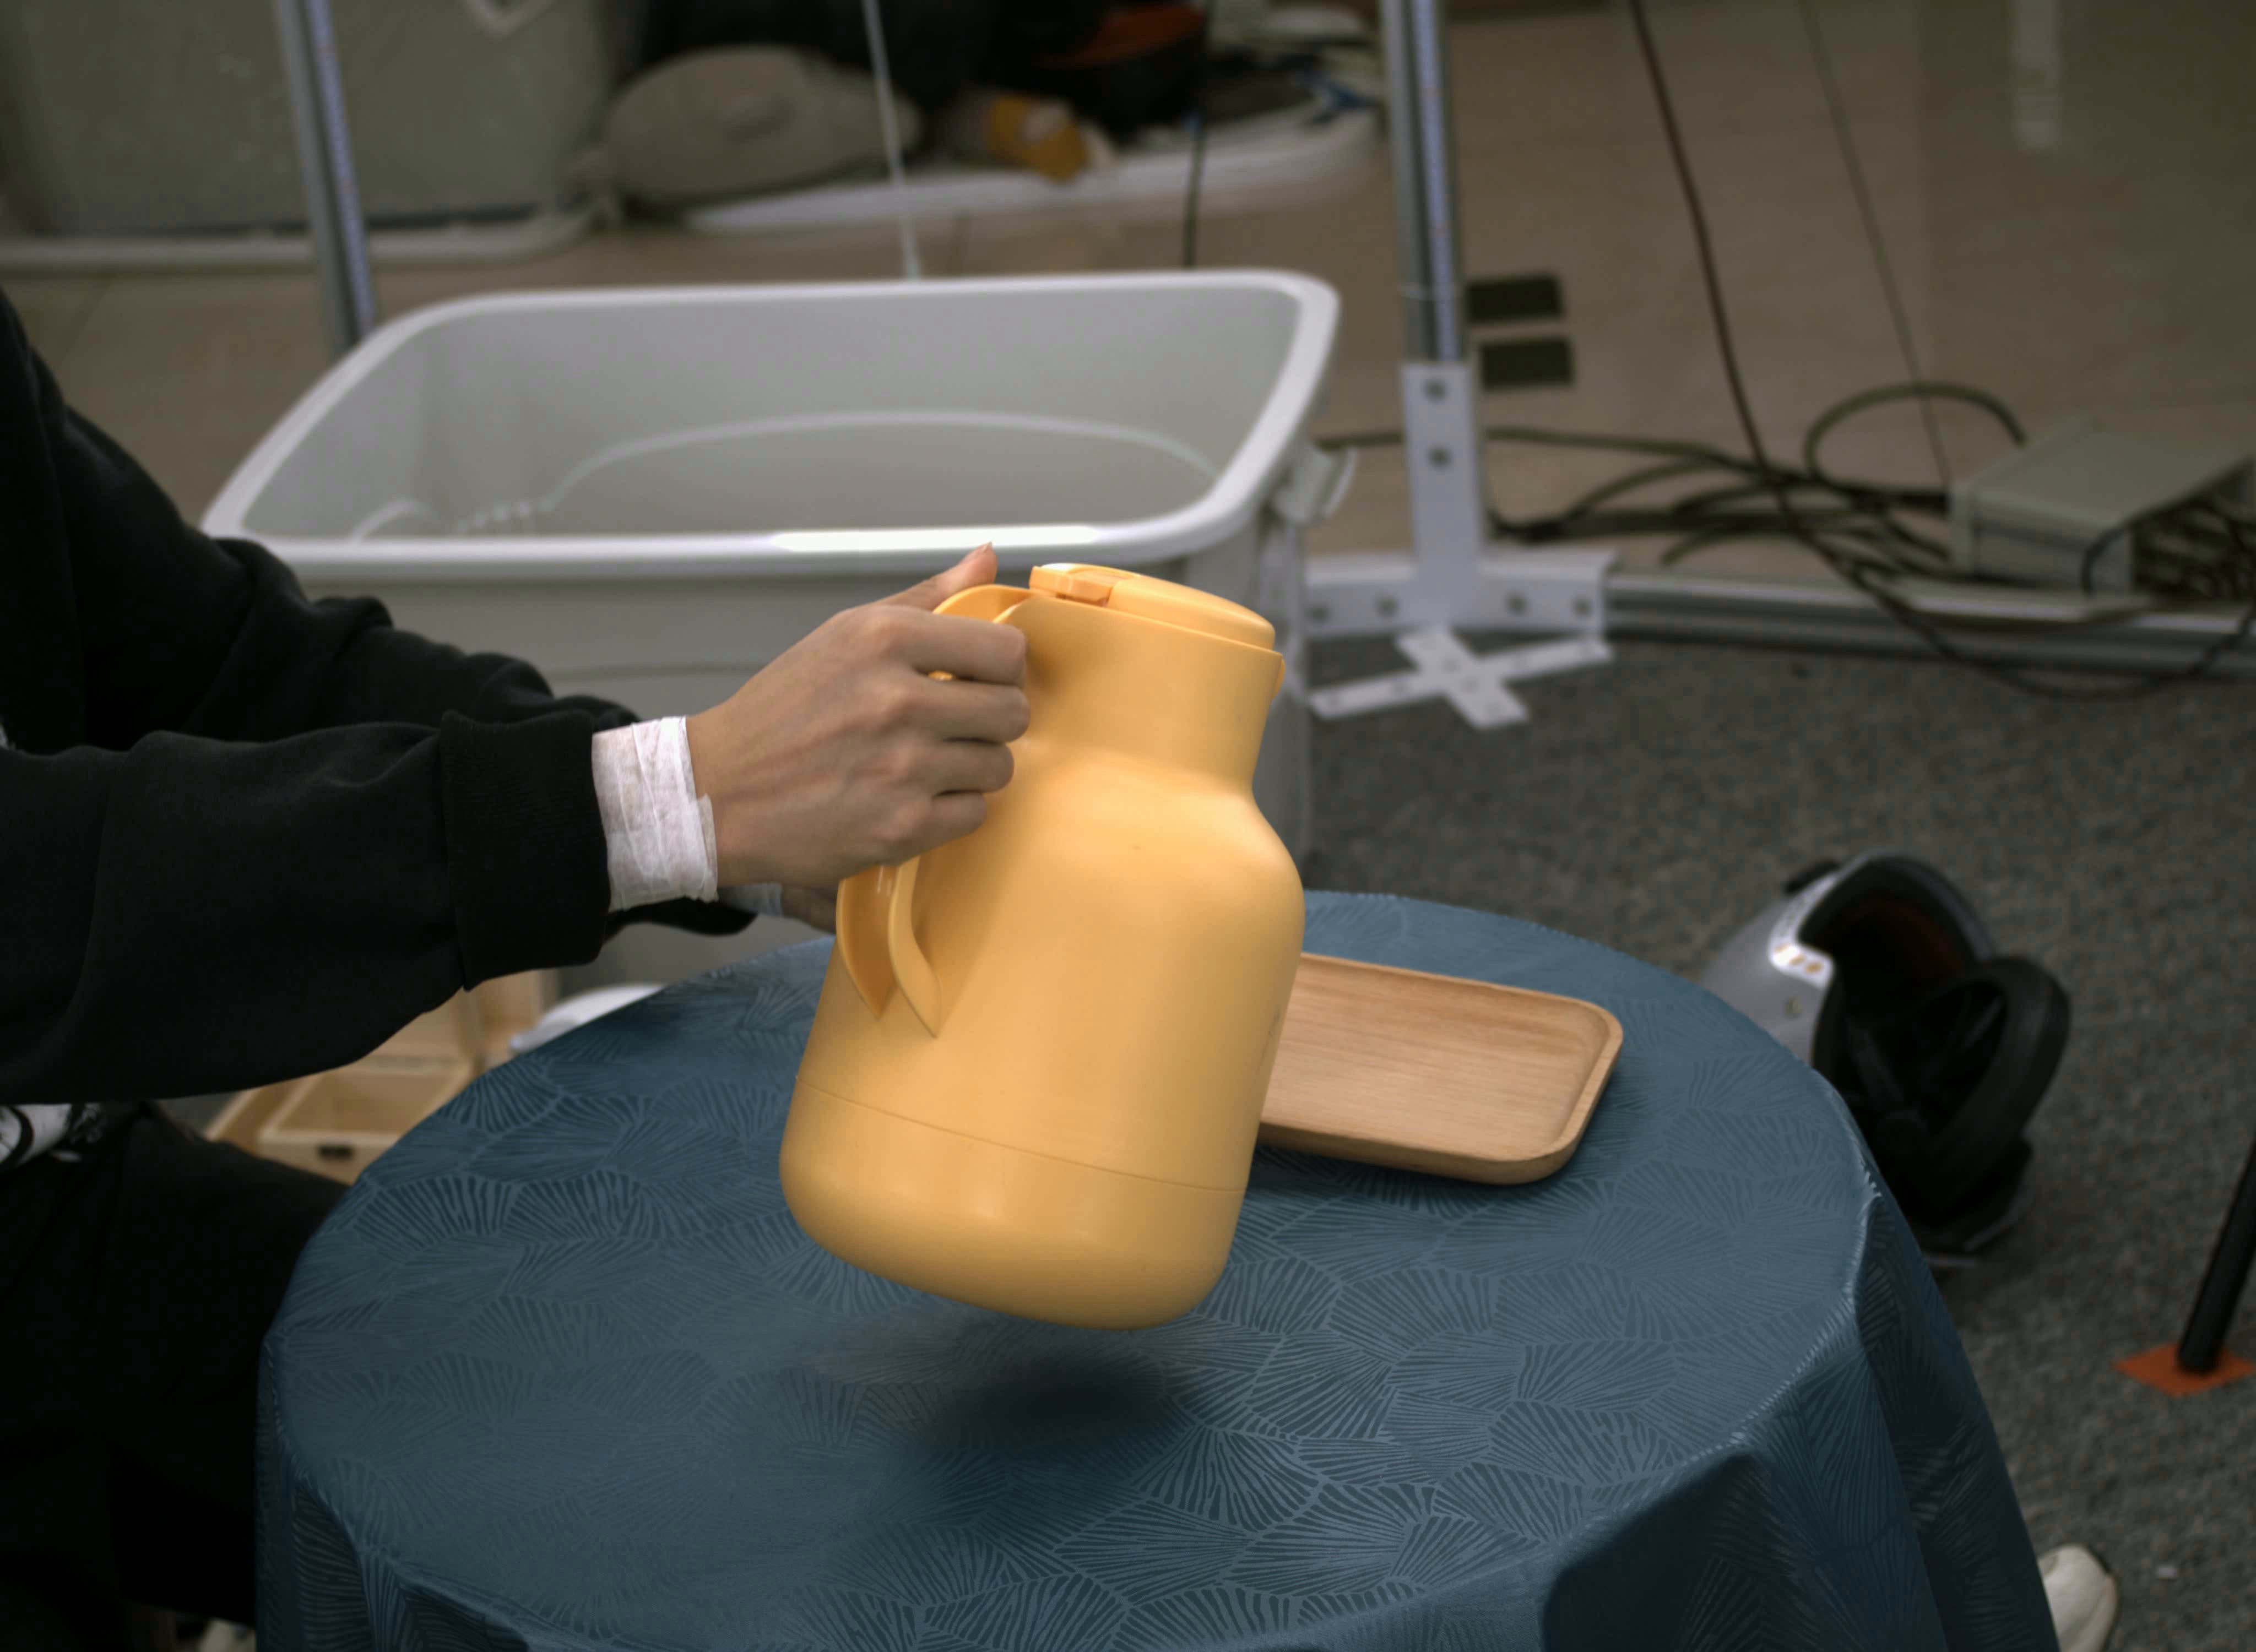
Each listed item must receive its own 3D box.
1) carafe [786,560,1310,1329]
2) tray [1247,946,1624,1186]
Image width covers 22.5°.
[{"bbox_3d":[-0.031,0.036,1.981,0.162,0.261,0.203,13,1,38],"label":"carafe"},{"bbox_3d":[0.060,0.086,2.191,0.250,0.023,0.129,9,28,17],"label":"tray"}]
